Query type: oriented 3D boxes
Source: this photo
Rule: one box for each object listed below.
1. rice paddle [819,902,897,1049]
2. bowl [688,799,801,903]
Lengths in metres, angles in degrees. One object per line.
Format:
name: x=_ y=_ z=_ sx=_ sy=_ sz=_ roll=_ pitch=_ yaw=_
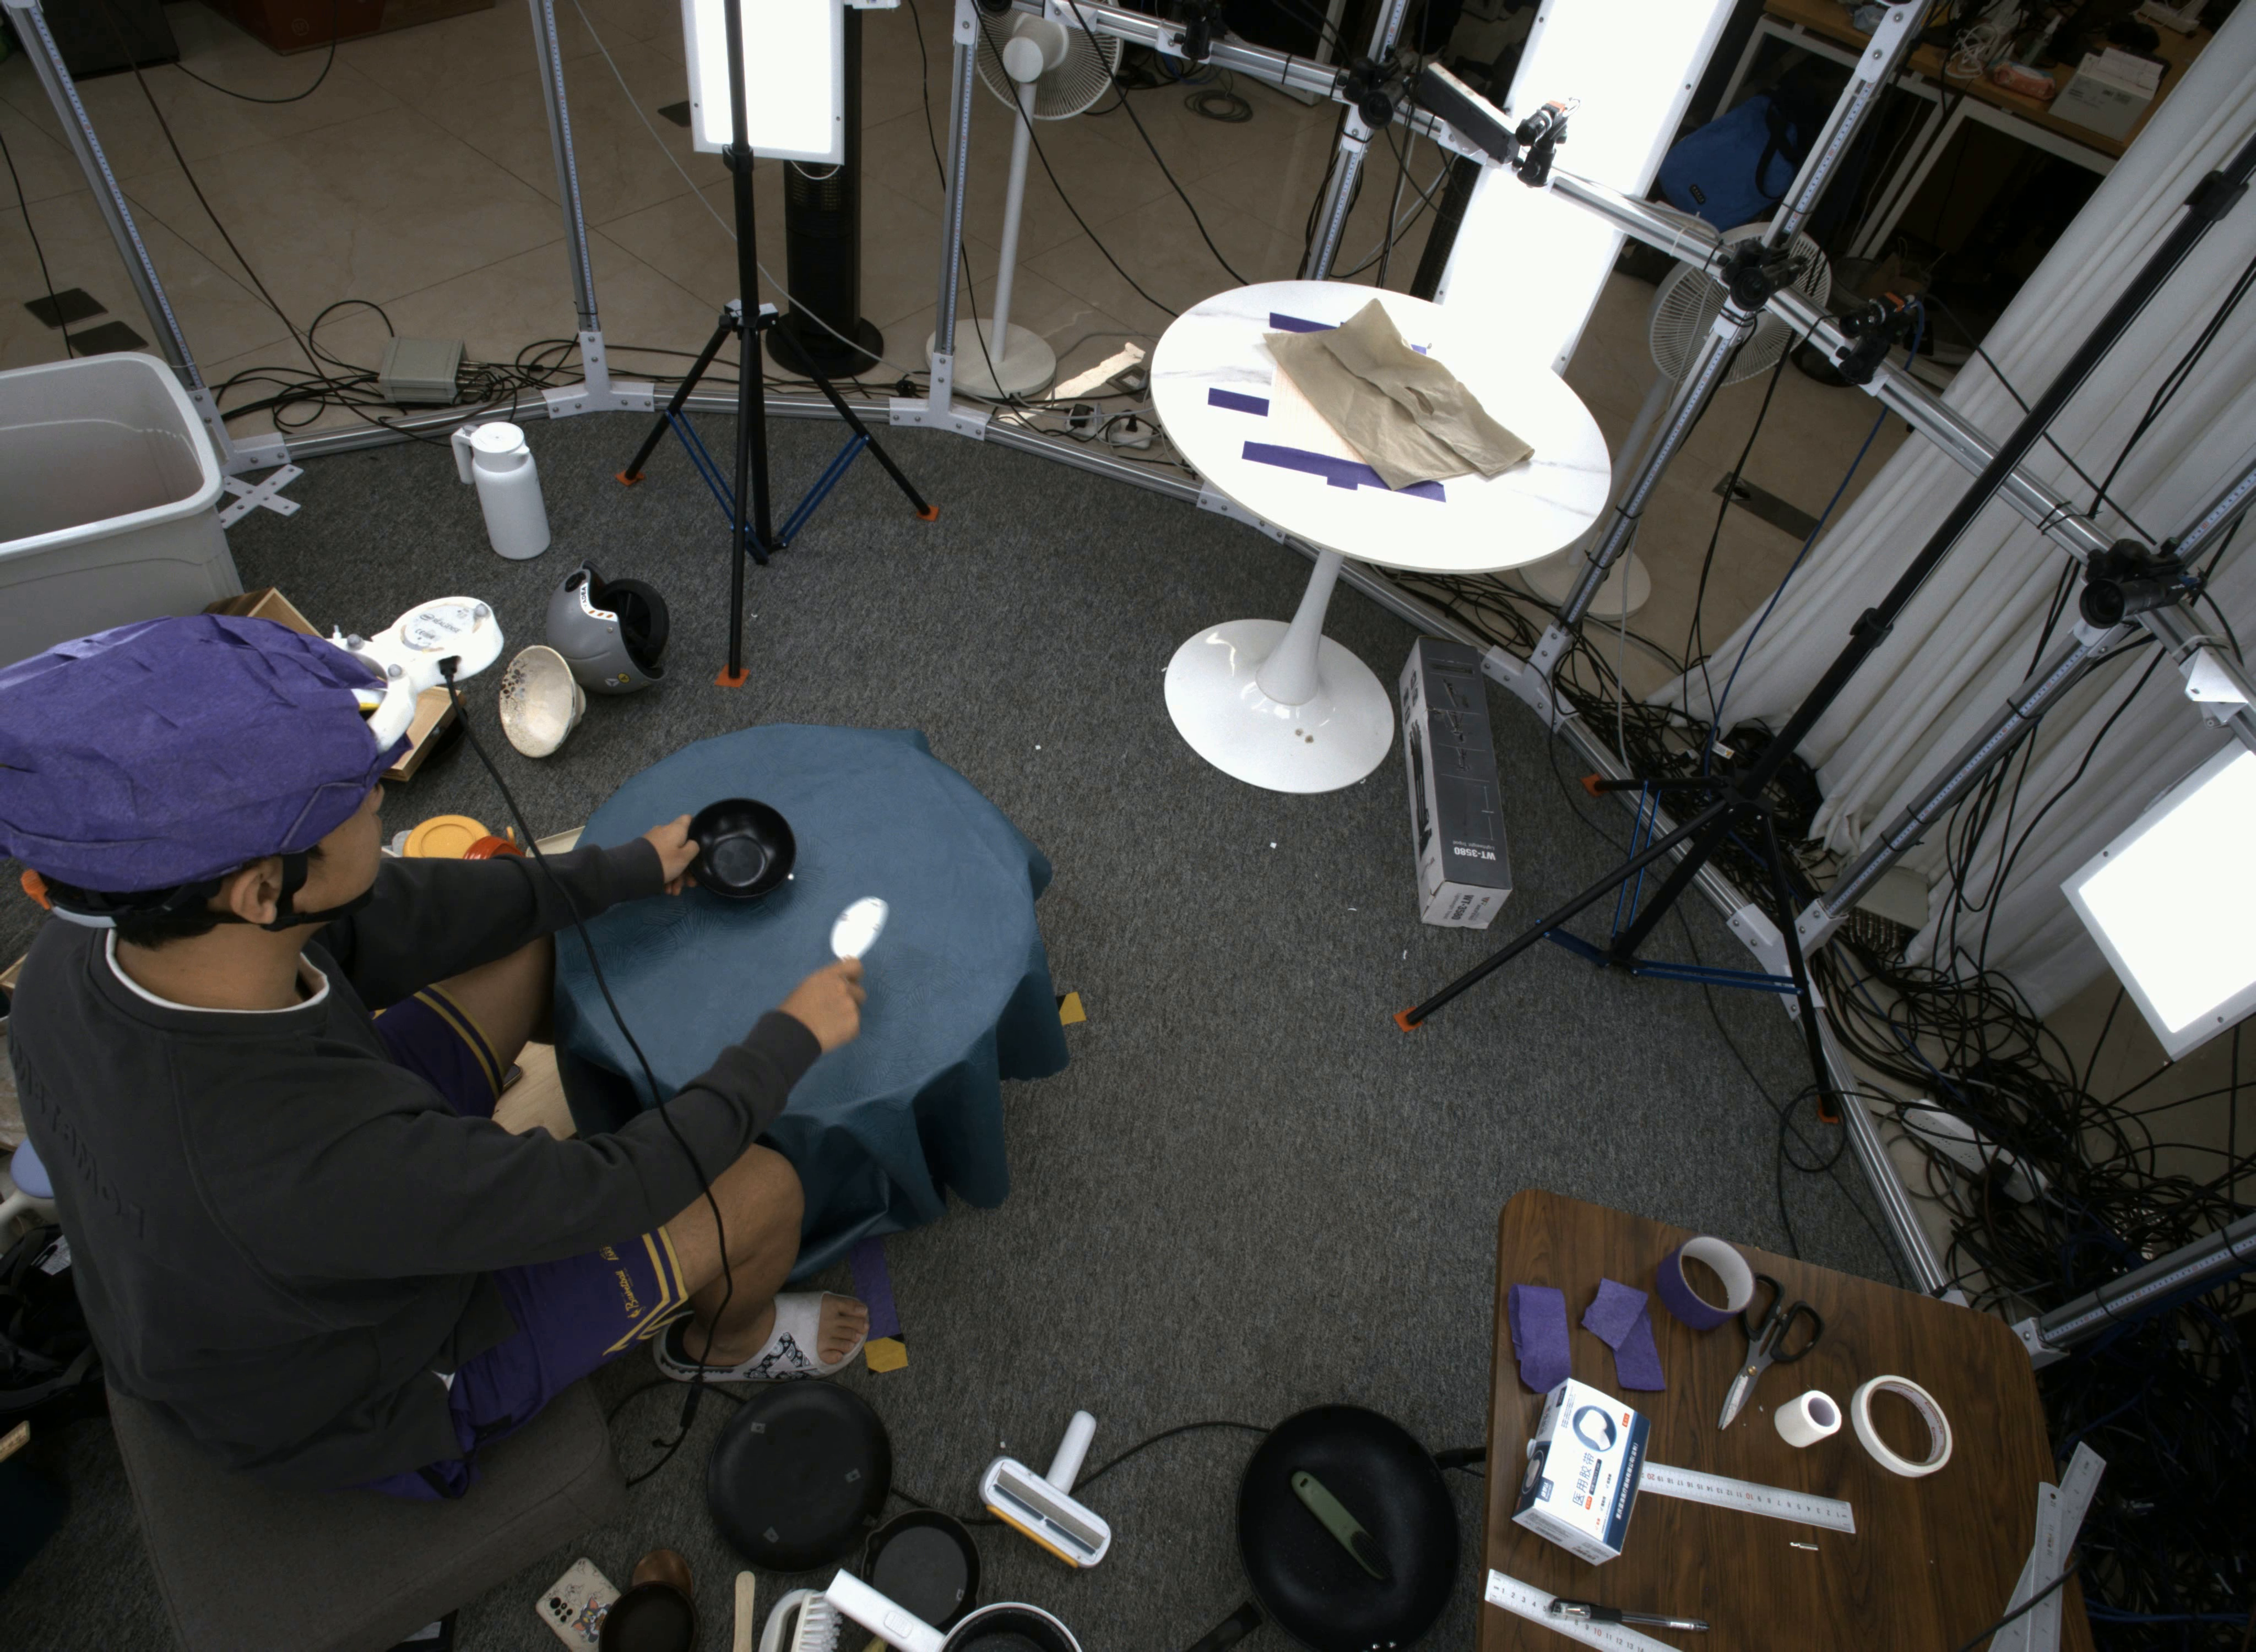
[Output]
rice paddle: x=-0.314 y=0.162 z=1.506 sx=0.067 sy=0.030 sz=0.202 roll=-13 pitch=43 yaw=24
bowl: x=-0.489 y=0.037 z=1.644 sx=0.141 sy=0.050 sz=0.138 roll=10 pitch=63 yaw=-18
